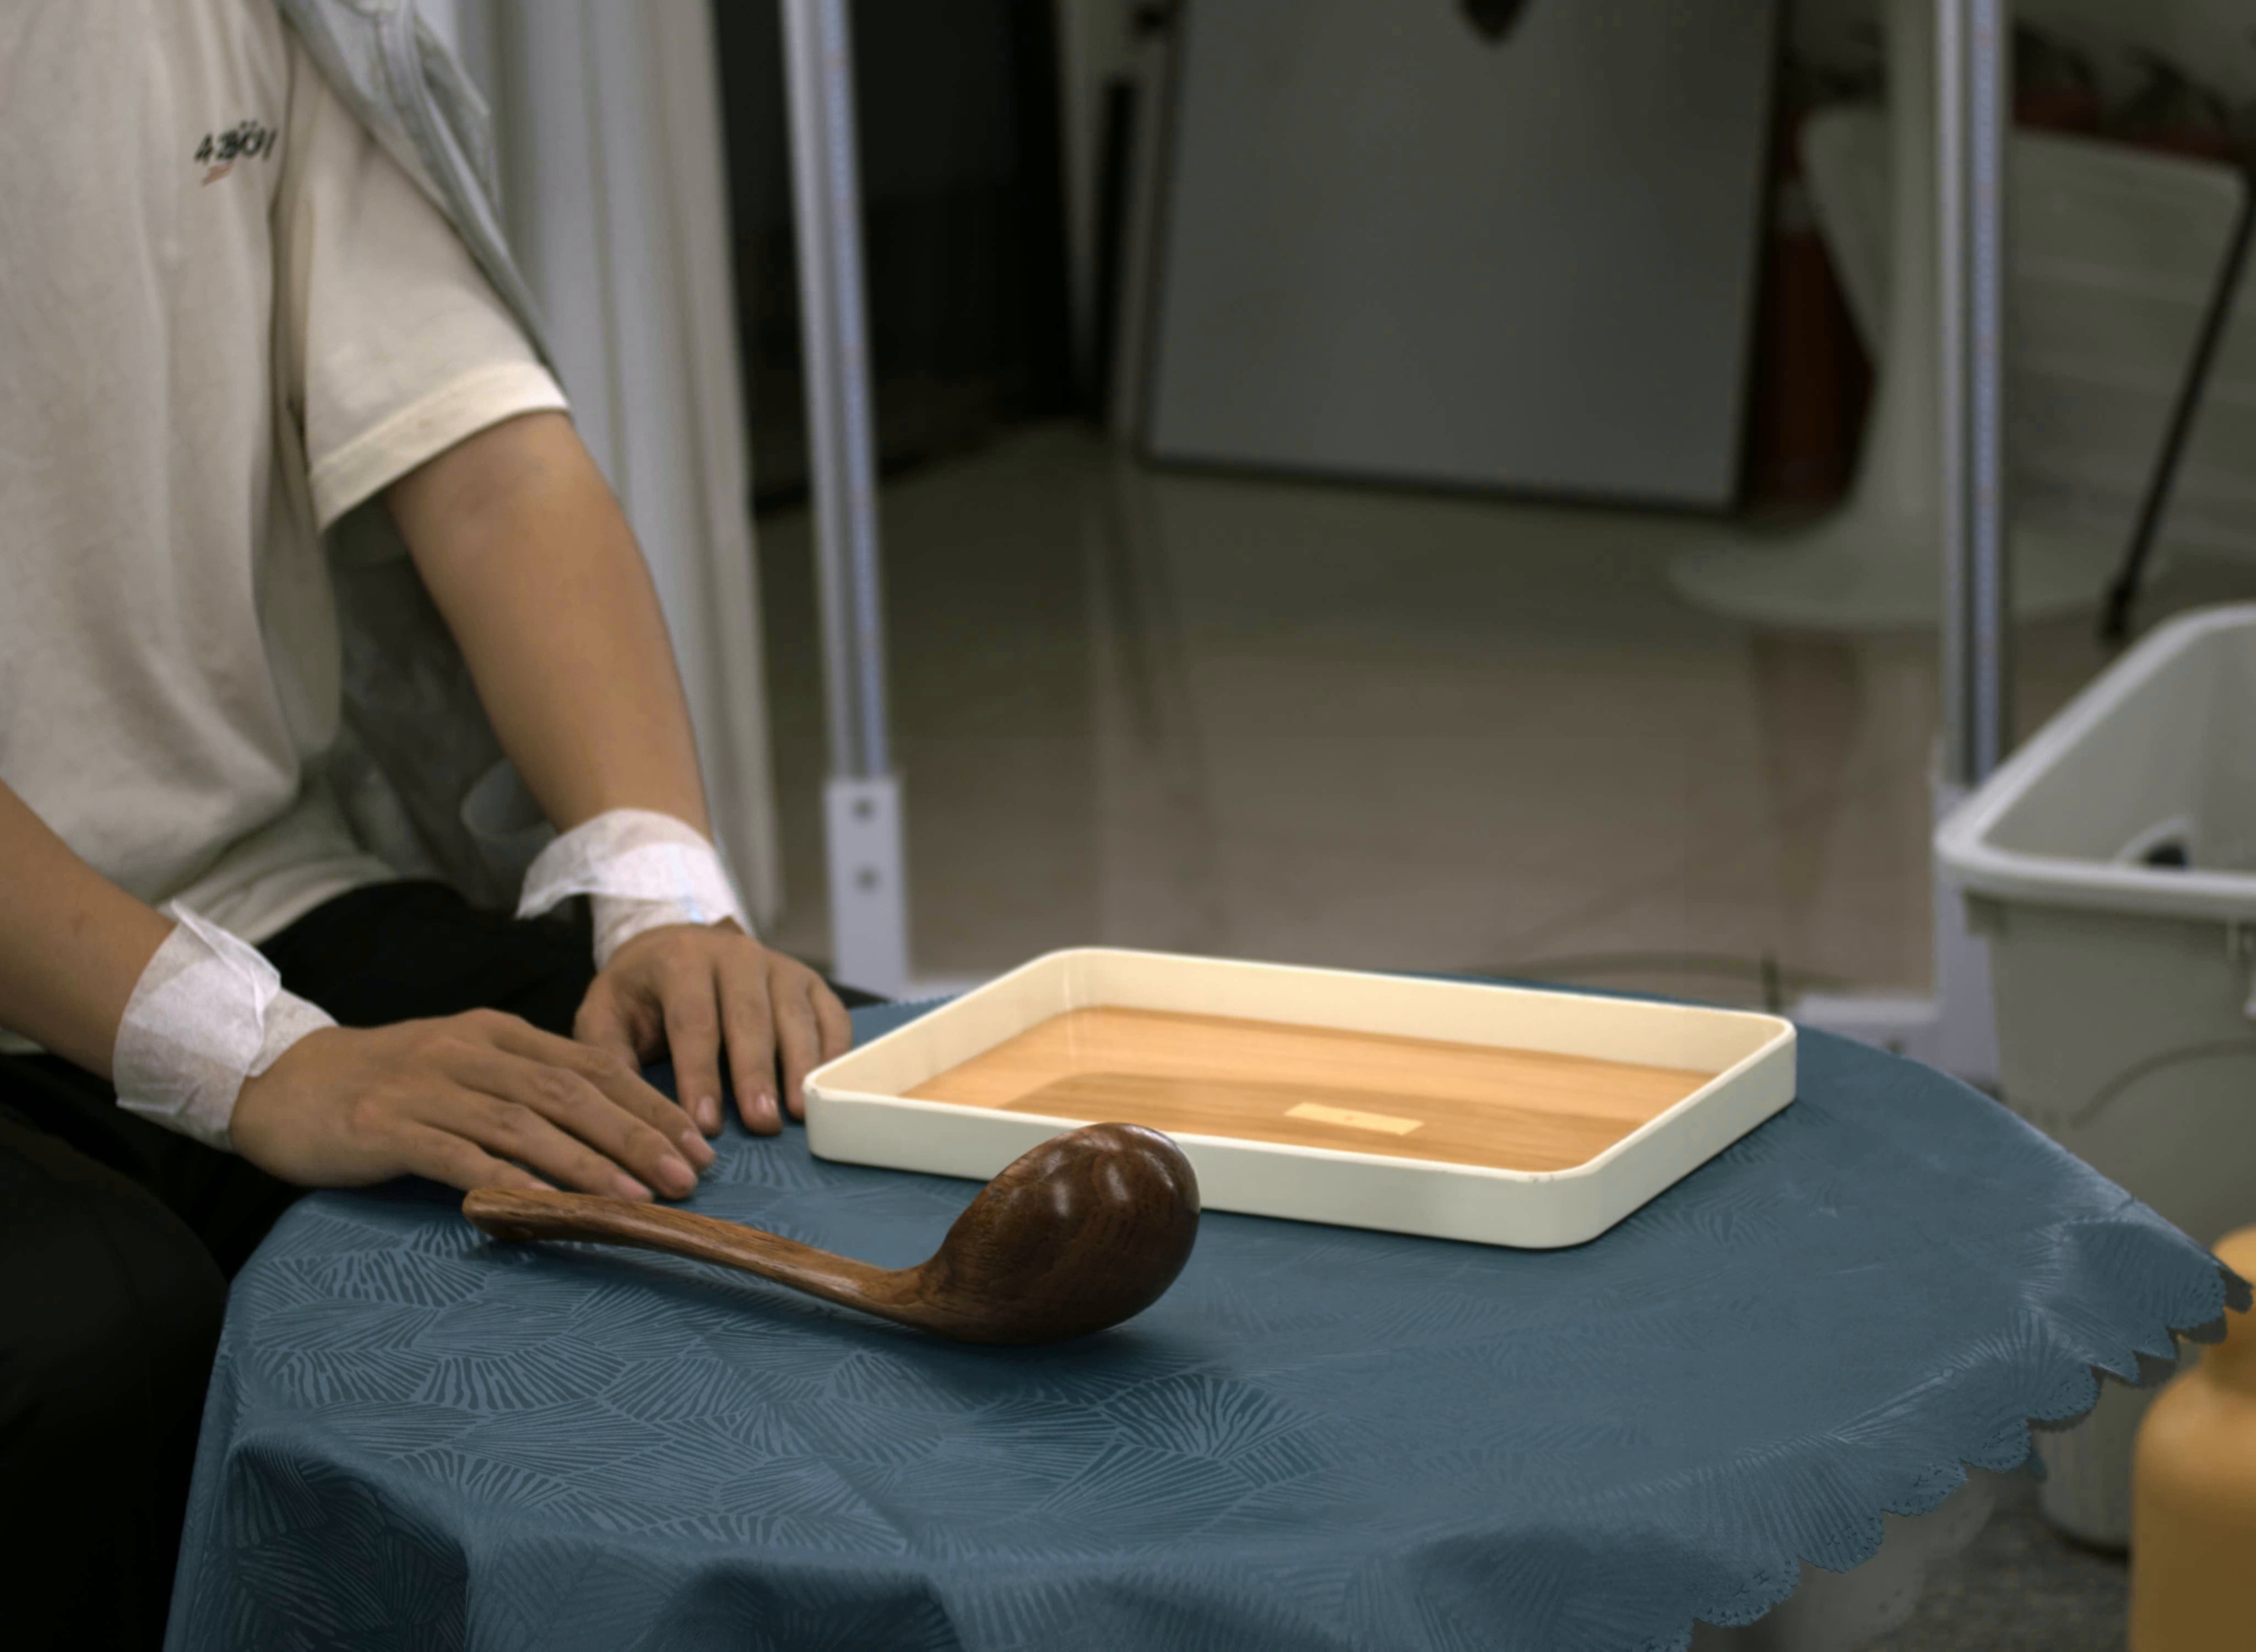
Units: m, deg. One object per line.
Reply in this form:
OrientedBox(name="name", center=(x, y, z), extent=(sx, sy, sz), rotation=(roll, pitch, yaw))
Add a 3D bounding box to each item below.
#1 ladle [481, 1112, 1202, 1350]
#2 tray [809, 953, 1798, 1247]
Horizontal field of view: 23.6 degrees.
OrientedBox(name="ladle", center=(-0.095, 0.114, 1.687), extent=(0.276, 0.077, 0.081), rotation=(7, -24, 42))
OrientedBox(name="tray", center=(0.060, 0.090, 1.828), extent=(0.302, 0.028, 0.188), rotation=(5, 16, 32))
